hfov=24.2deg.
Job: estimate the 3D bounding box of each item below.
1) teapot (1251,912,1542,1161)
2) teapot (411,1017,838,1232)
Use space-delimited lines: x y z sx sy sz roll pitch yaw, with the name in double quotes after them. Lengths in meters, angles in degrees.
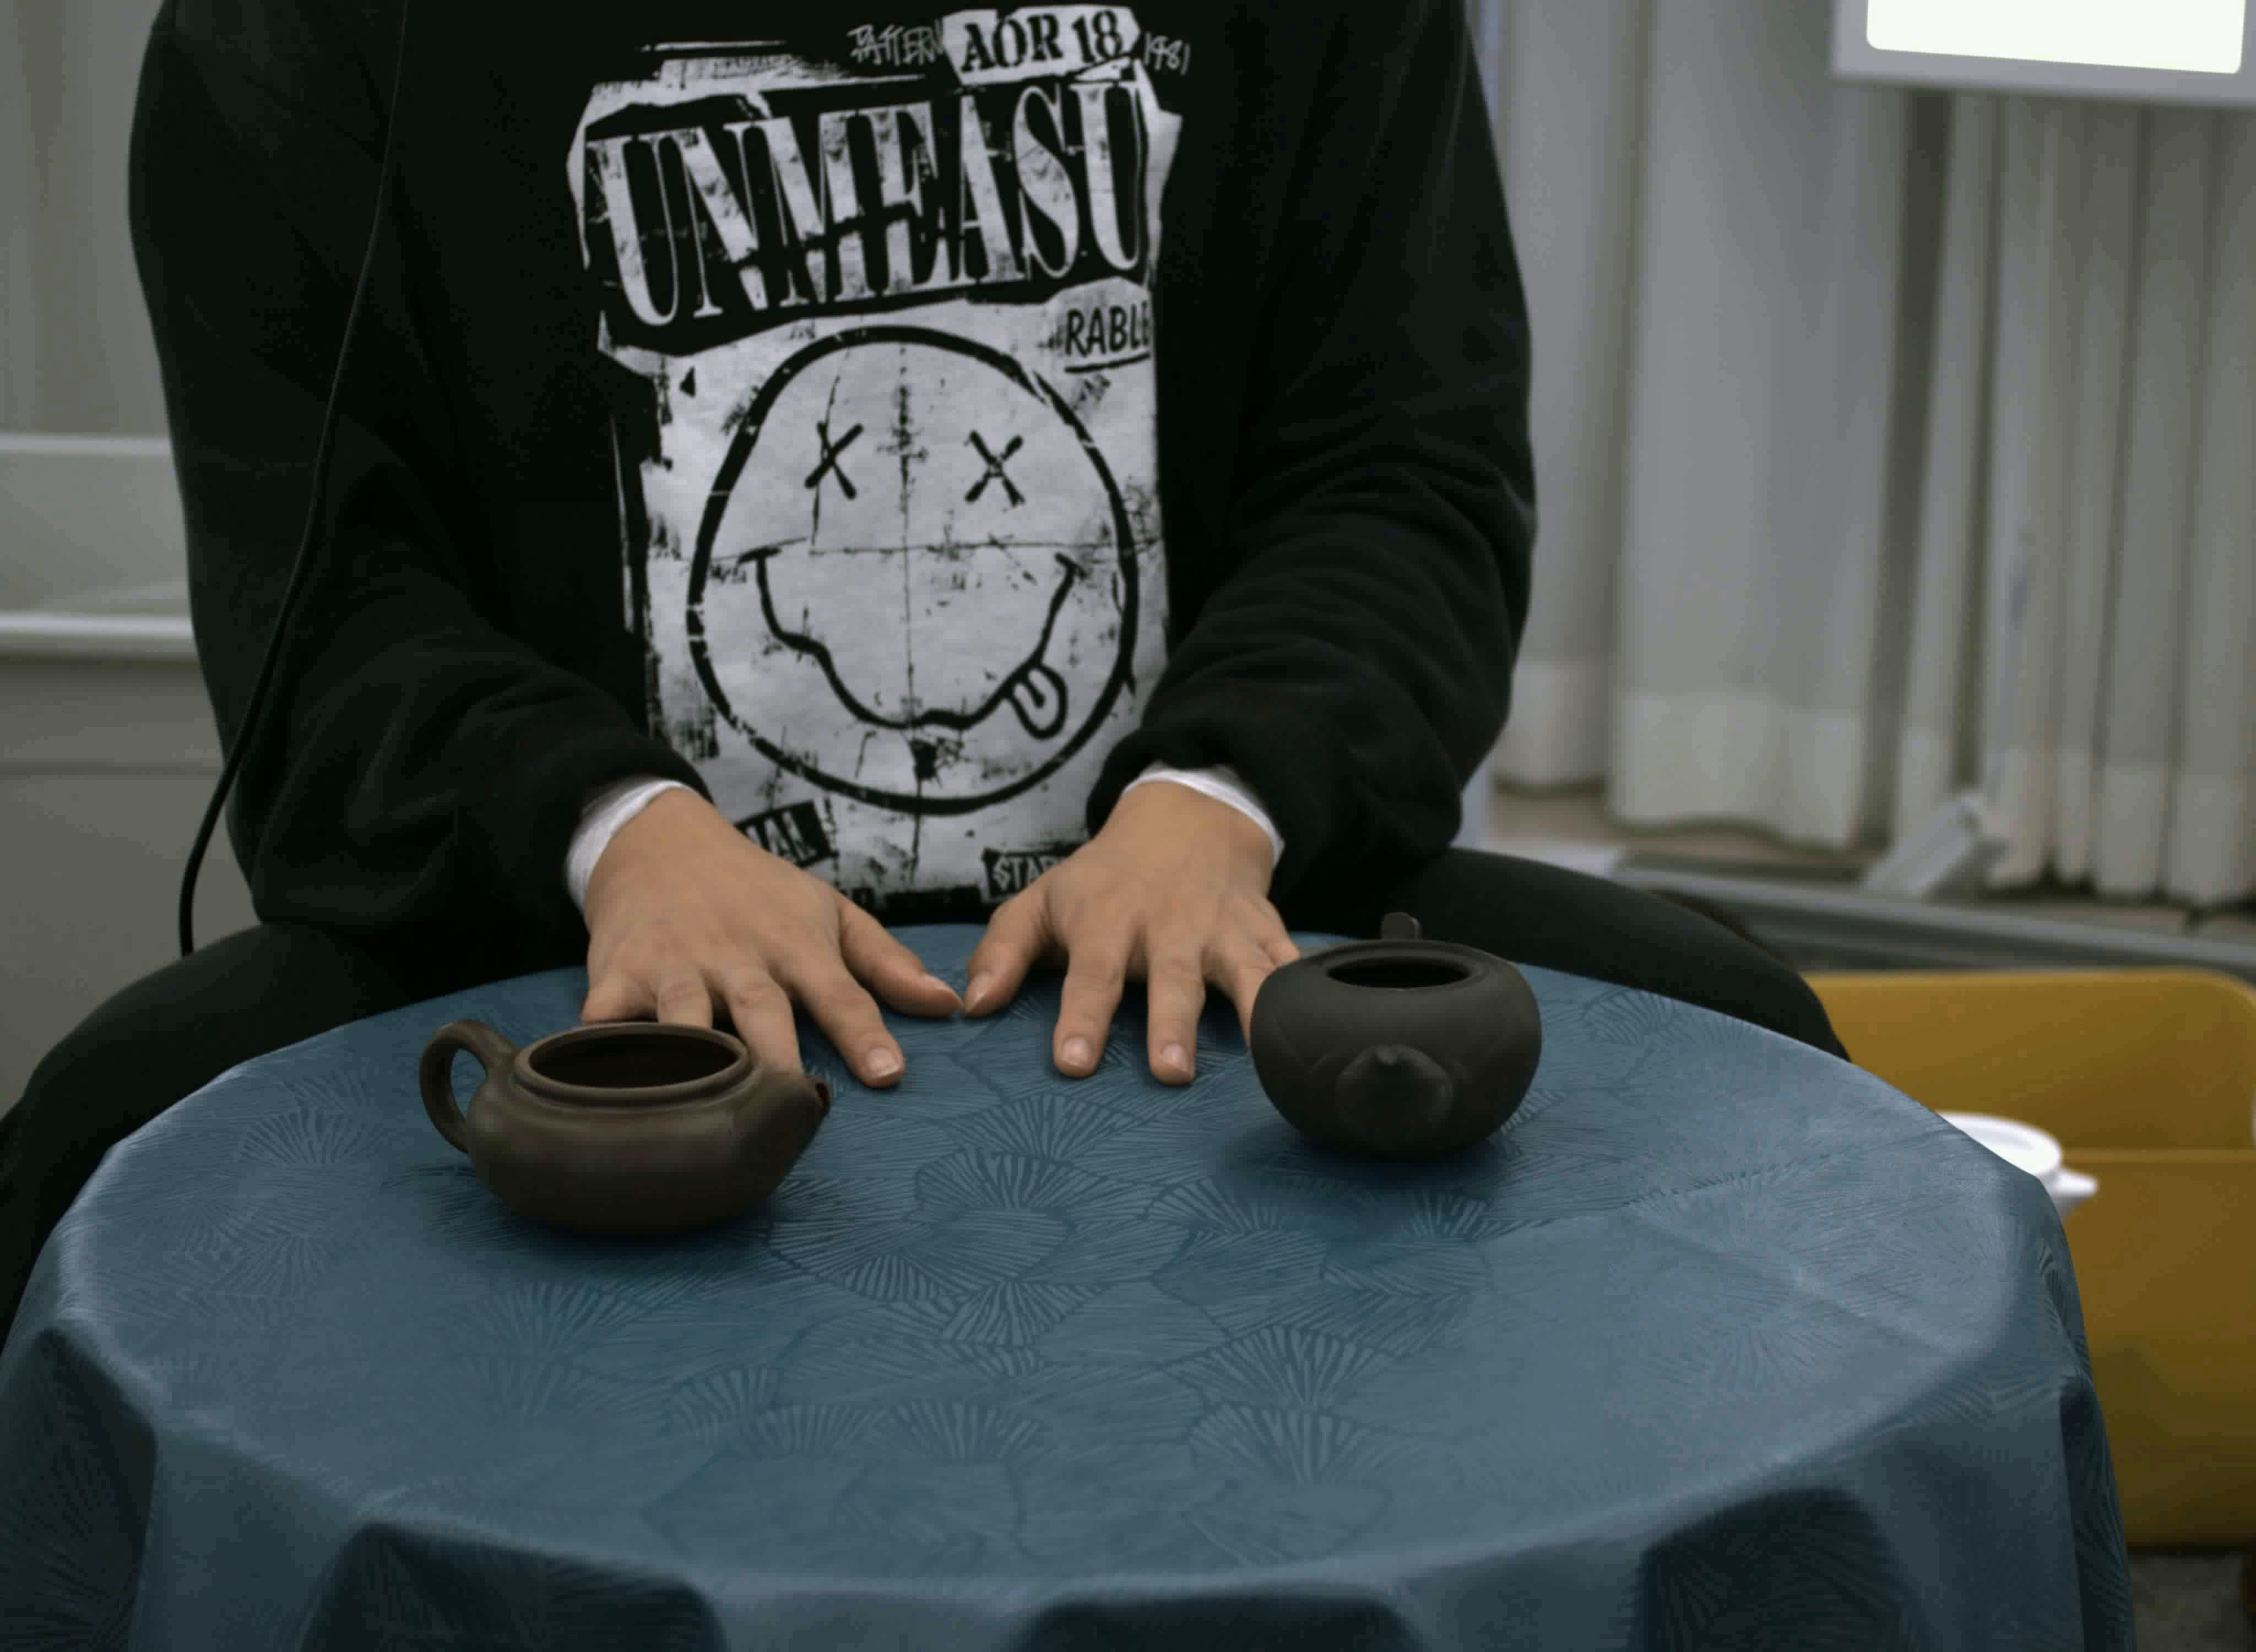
0.085 0.067 1.667 0.092 0.065 0.153 4 16 4 "teapot"
-0.154 0.089 1.599 0.152 0.054 0.103 9 15 25 "teapot"
